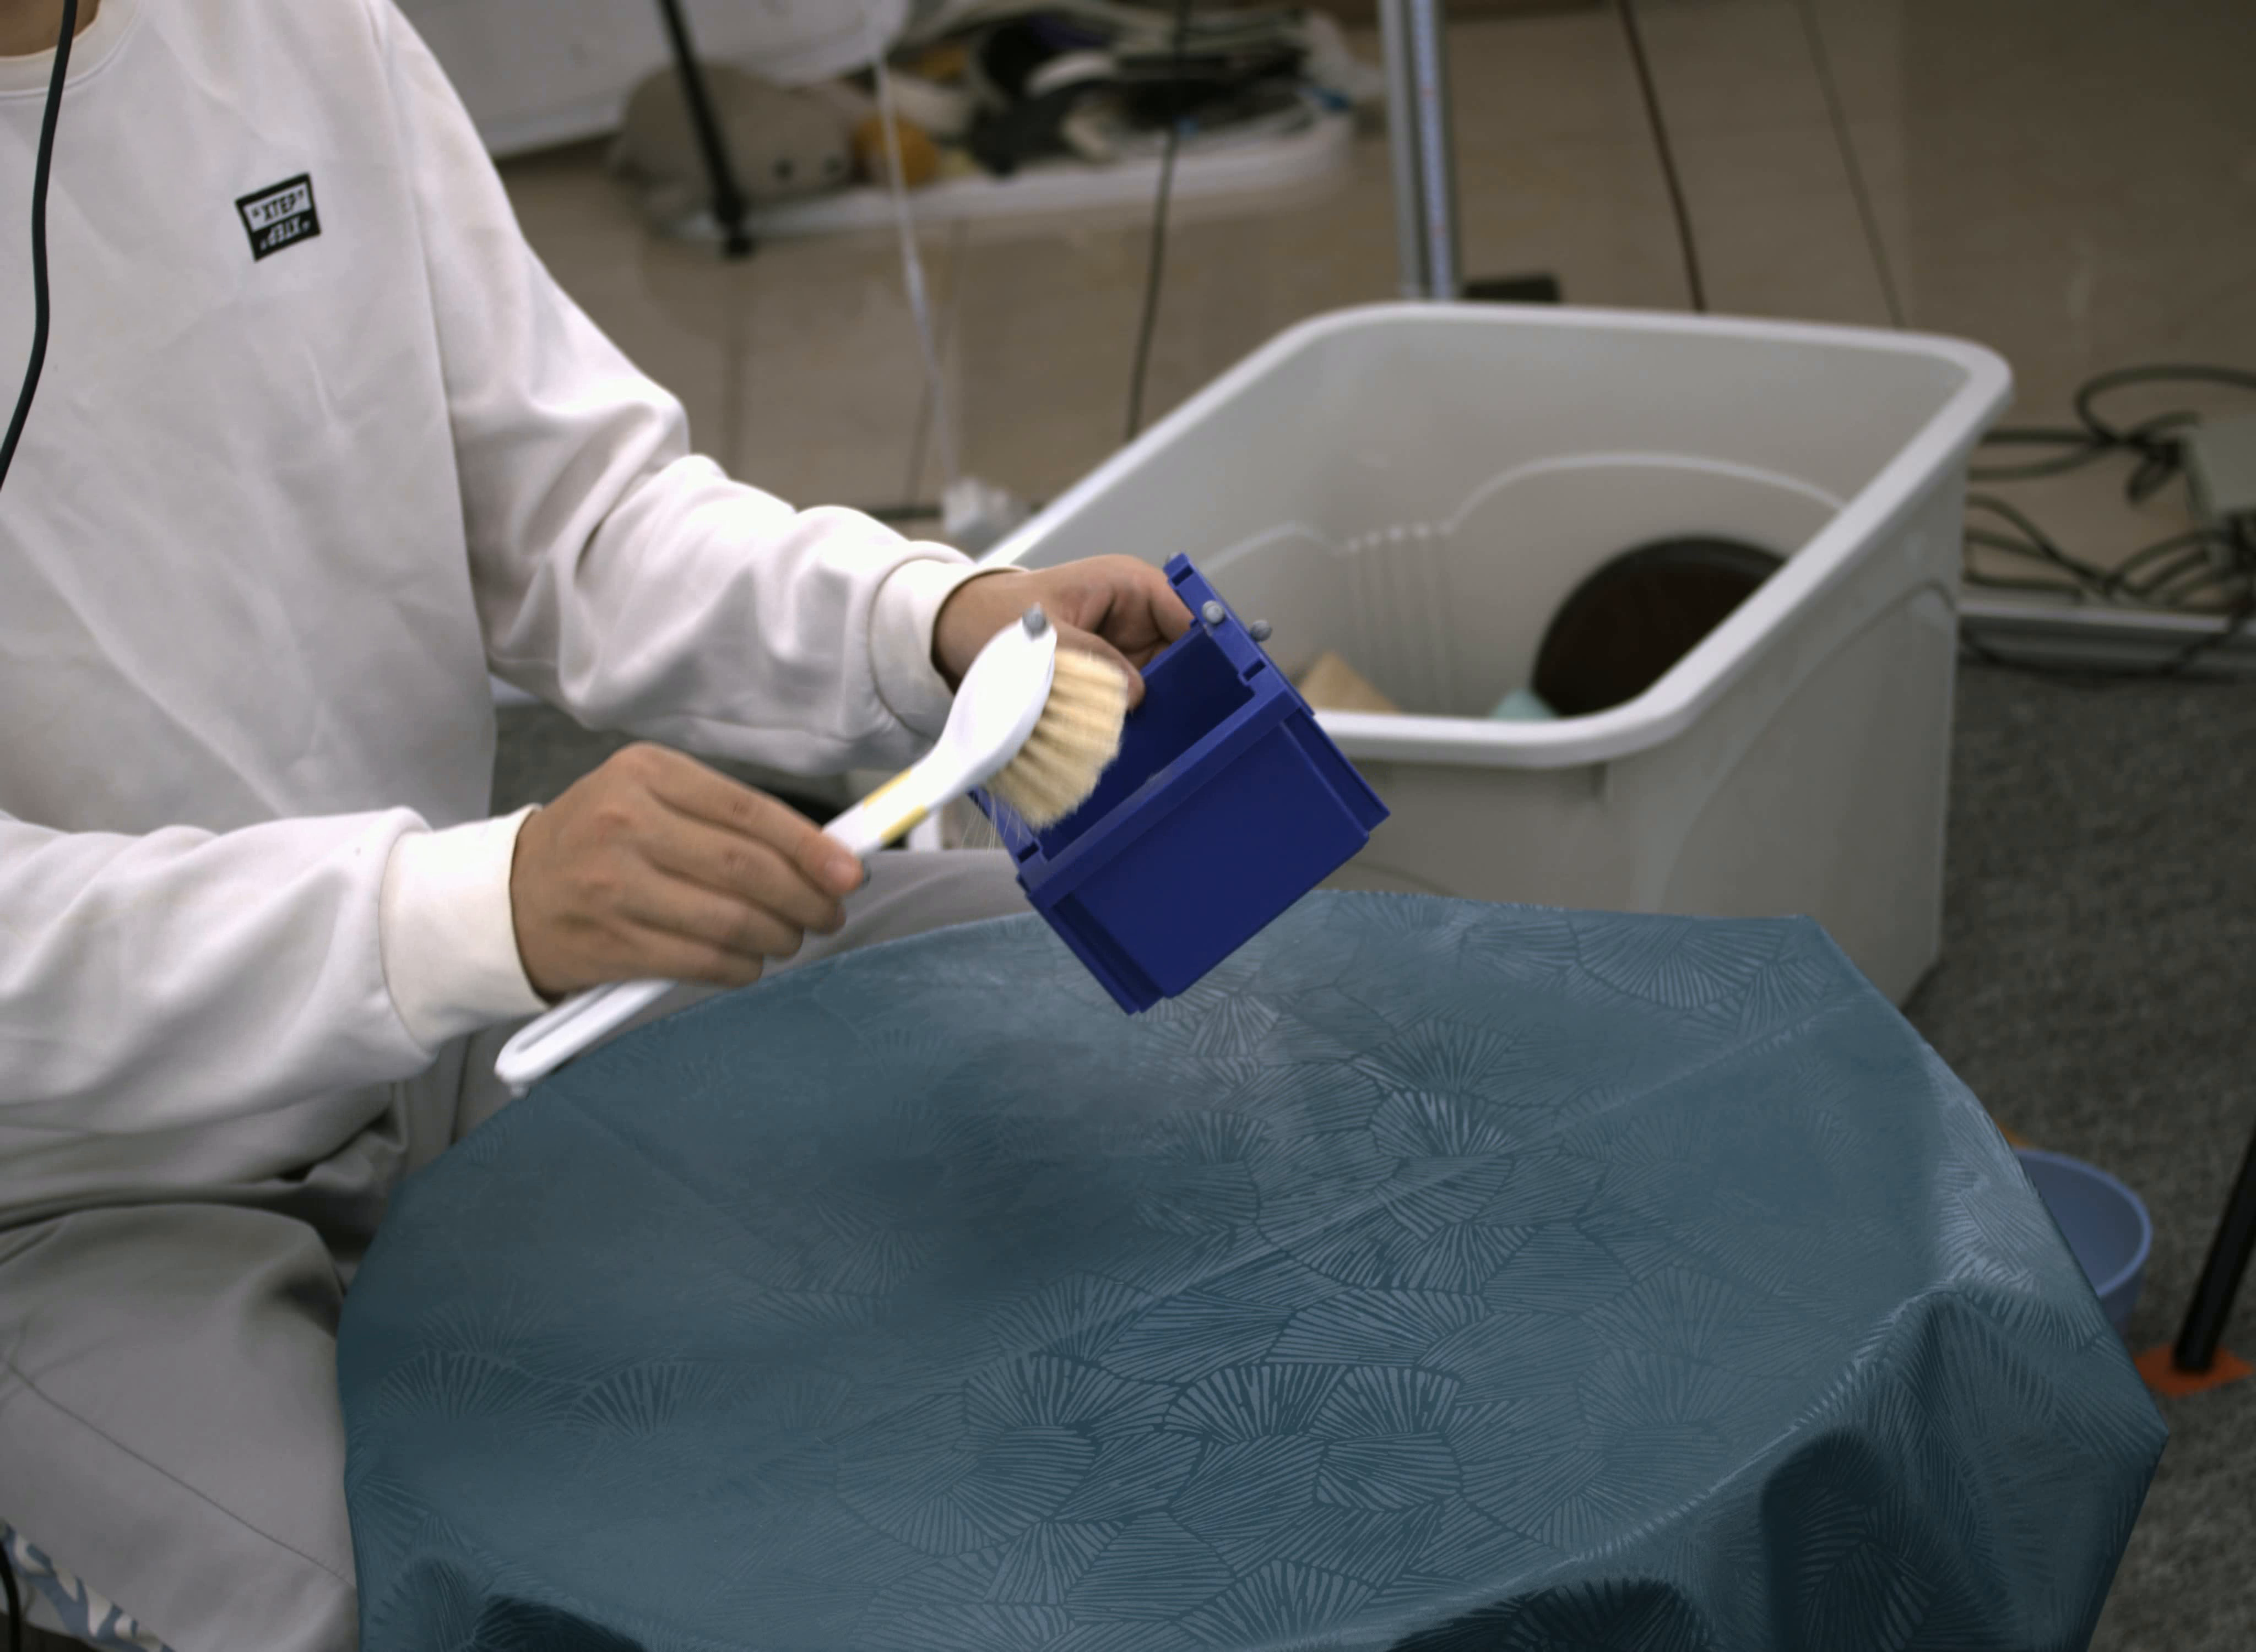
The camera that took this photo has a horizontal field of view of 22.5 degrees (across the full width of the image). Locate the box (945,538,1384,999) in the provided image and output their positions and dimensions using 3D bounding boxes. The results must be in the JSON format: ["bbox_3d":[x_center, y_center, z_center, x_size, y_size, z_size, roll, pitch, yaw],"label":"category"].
[{"bbox_3d":[0.009,-0.025,2.162,0.124,0.083,0.177,-39,29,4],"label":"box"}]

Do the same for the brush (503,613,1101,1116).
[{"bbox_3d":[-0.112,0.028,2.033,0.267,0.056,0.068,-43,17,9],"label":"brush"}]
